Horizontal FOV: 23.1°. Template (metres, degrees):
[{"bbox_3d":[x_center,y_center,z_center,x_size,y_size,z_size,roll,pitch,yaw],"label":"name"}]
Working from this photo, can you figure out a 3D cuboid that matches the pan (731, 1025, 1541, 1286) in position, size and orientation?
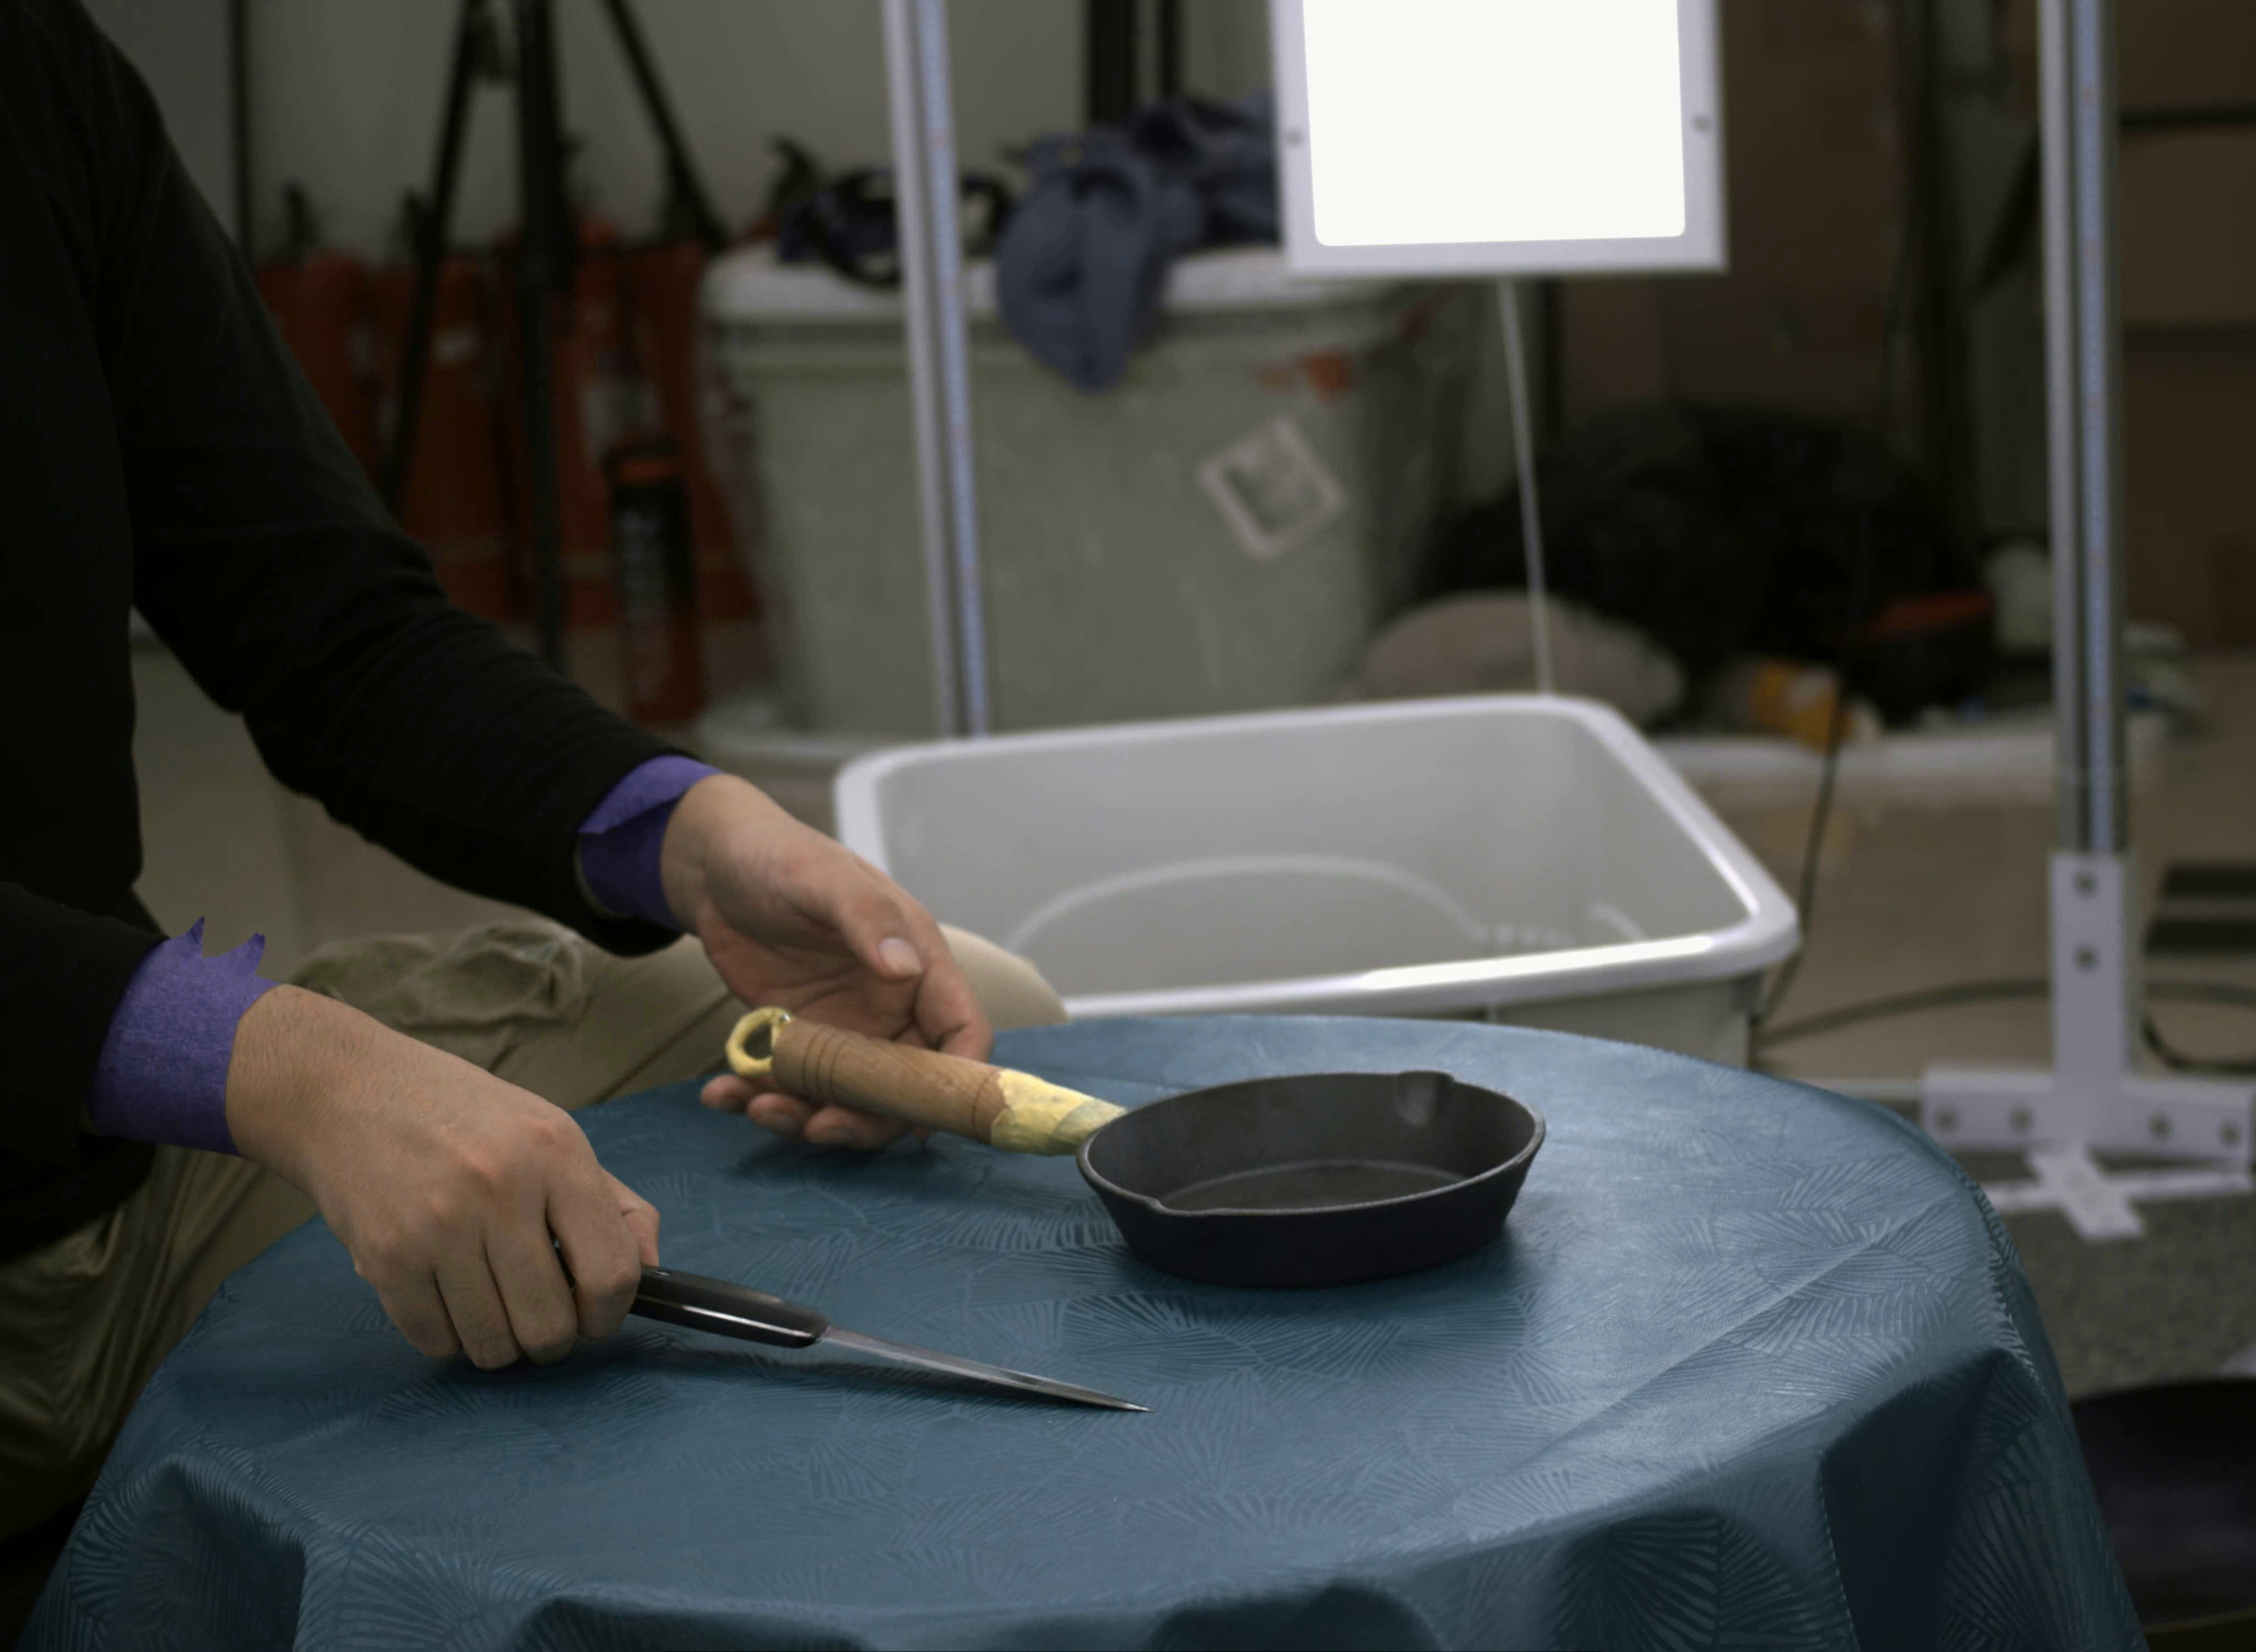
[{"bbox_3d":[-0.007,0.106,1.888,0.331,0.050,0.165,5,17,38],"label":"pan"}]

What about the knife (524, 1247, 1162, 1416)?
[{"bbox_3d":[-0.094,0.162,1.743,0.242,0.016,0.024,10,3,30],"label":"knife"}]
